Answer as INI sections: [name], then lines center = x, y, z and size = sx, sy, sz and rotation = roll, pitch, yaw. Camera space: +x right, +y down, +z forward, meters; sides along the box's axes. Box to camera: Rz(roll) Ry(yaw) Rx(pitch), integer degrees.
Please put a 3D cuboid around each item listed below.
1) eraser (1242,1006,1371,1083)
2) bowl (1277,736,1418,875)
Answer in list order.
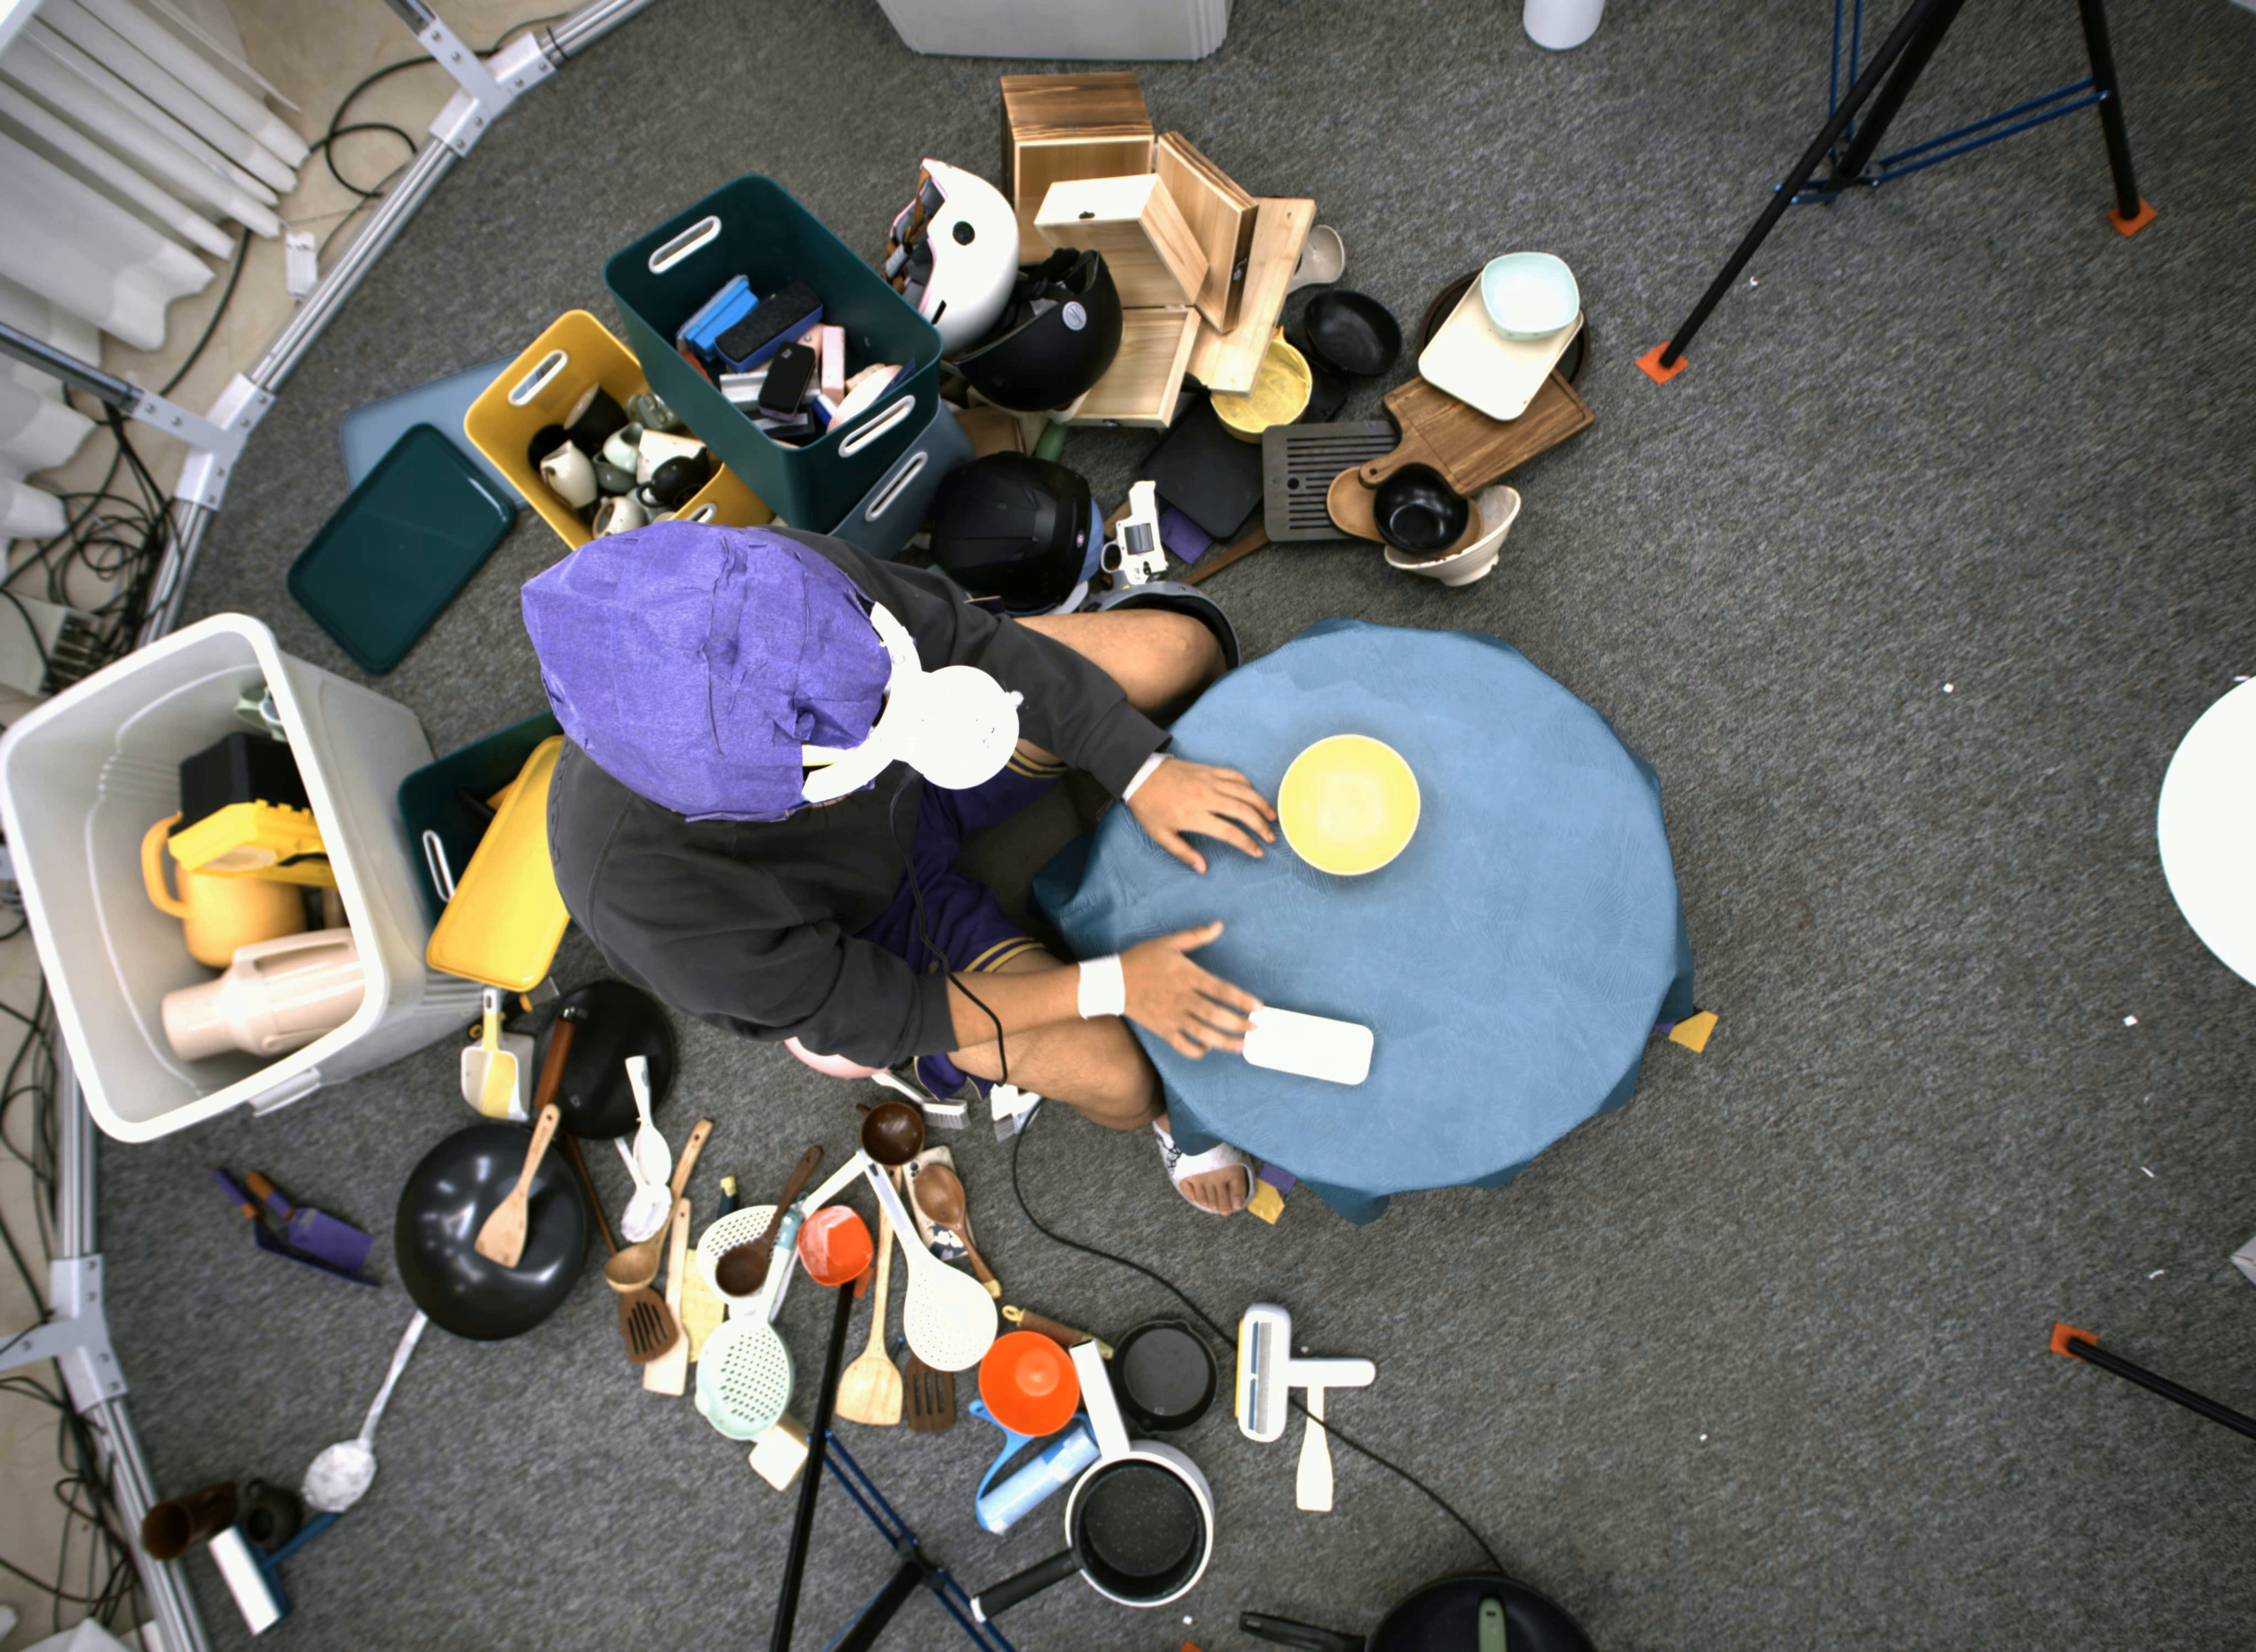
[eraser]
center = 0.187, 0.226, 1.450
size = 0.131, 0.034, 0.063
rotation = 11, 88, 10
[bowl]
center = 0.230, -0.019, 1.444
size = 0.146, 0.060, 0.144
rotation = -1, 85, 12
